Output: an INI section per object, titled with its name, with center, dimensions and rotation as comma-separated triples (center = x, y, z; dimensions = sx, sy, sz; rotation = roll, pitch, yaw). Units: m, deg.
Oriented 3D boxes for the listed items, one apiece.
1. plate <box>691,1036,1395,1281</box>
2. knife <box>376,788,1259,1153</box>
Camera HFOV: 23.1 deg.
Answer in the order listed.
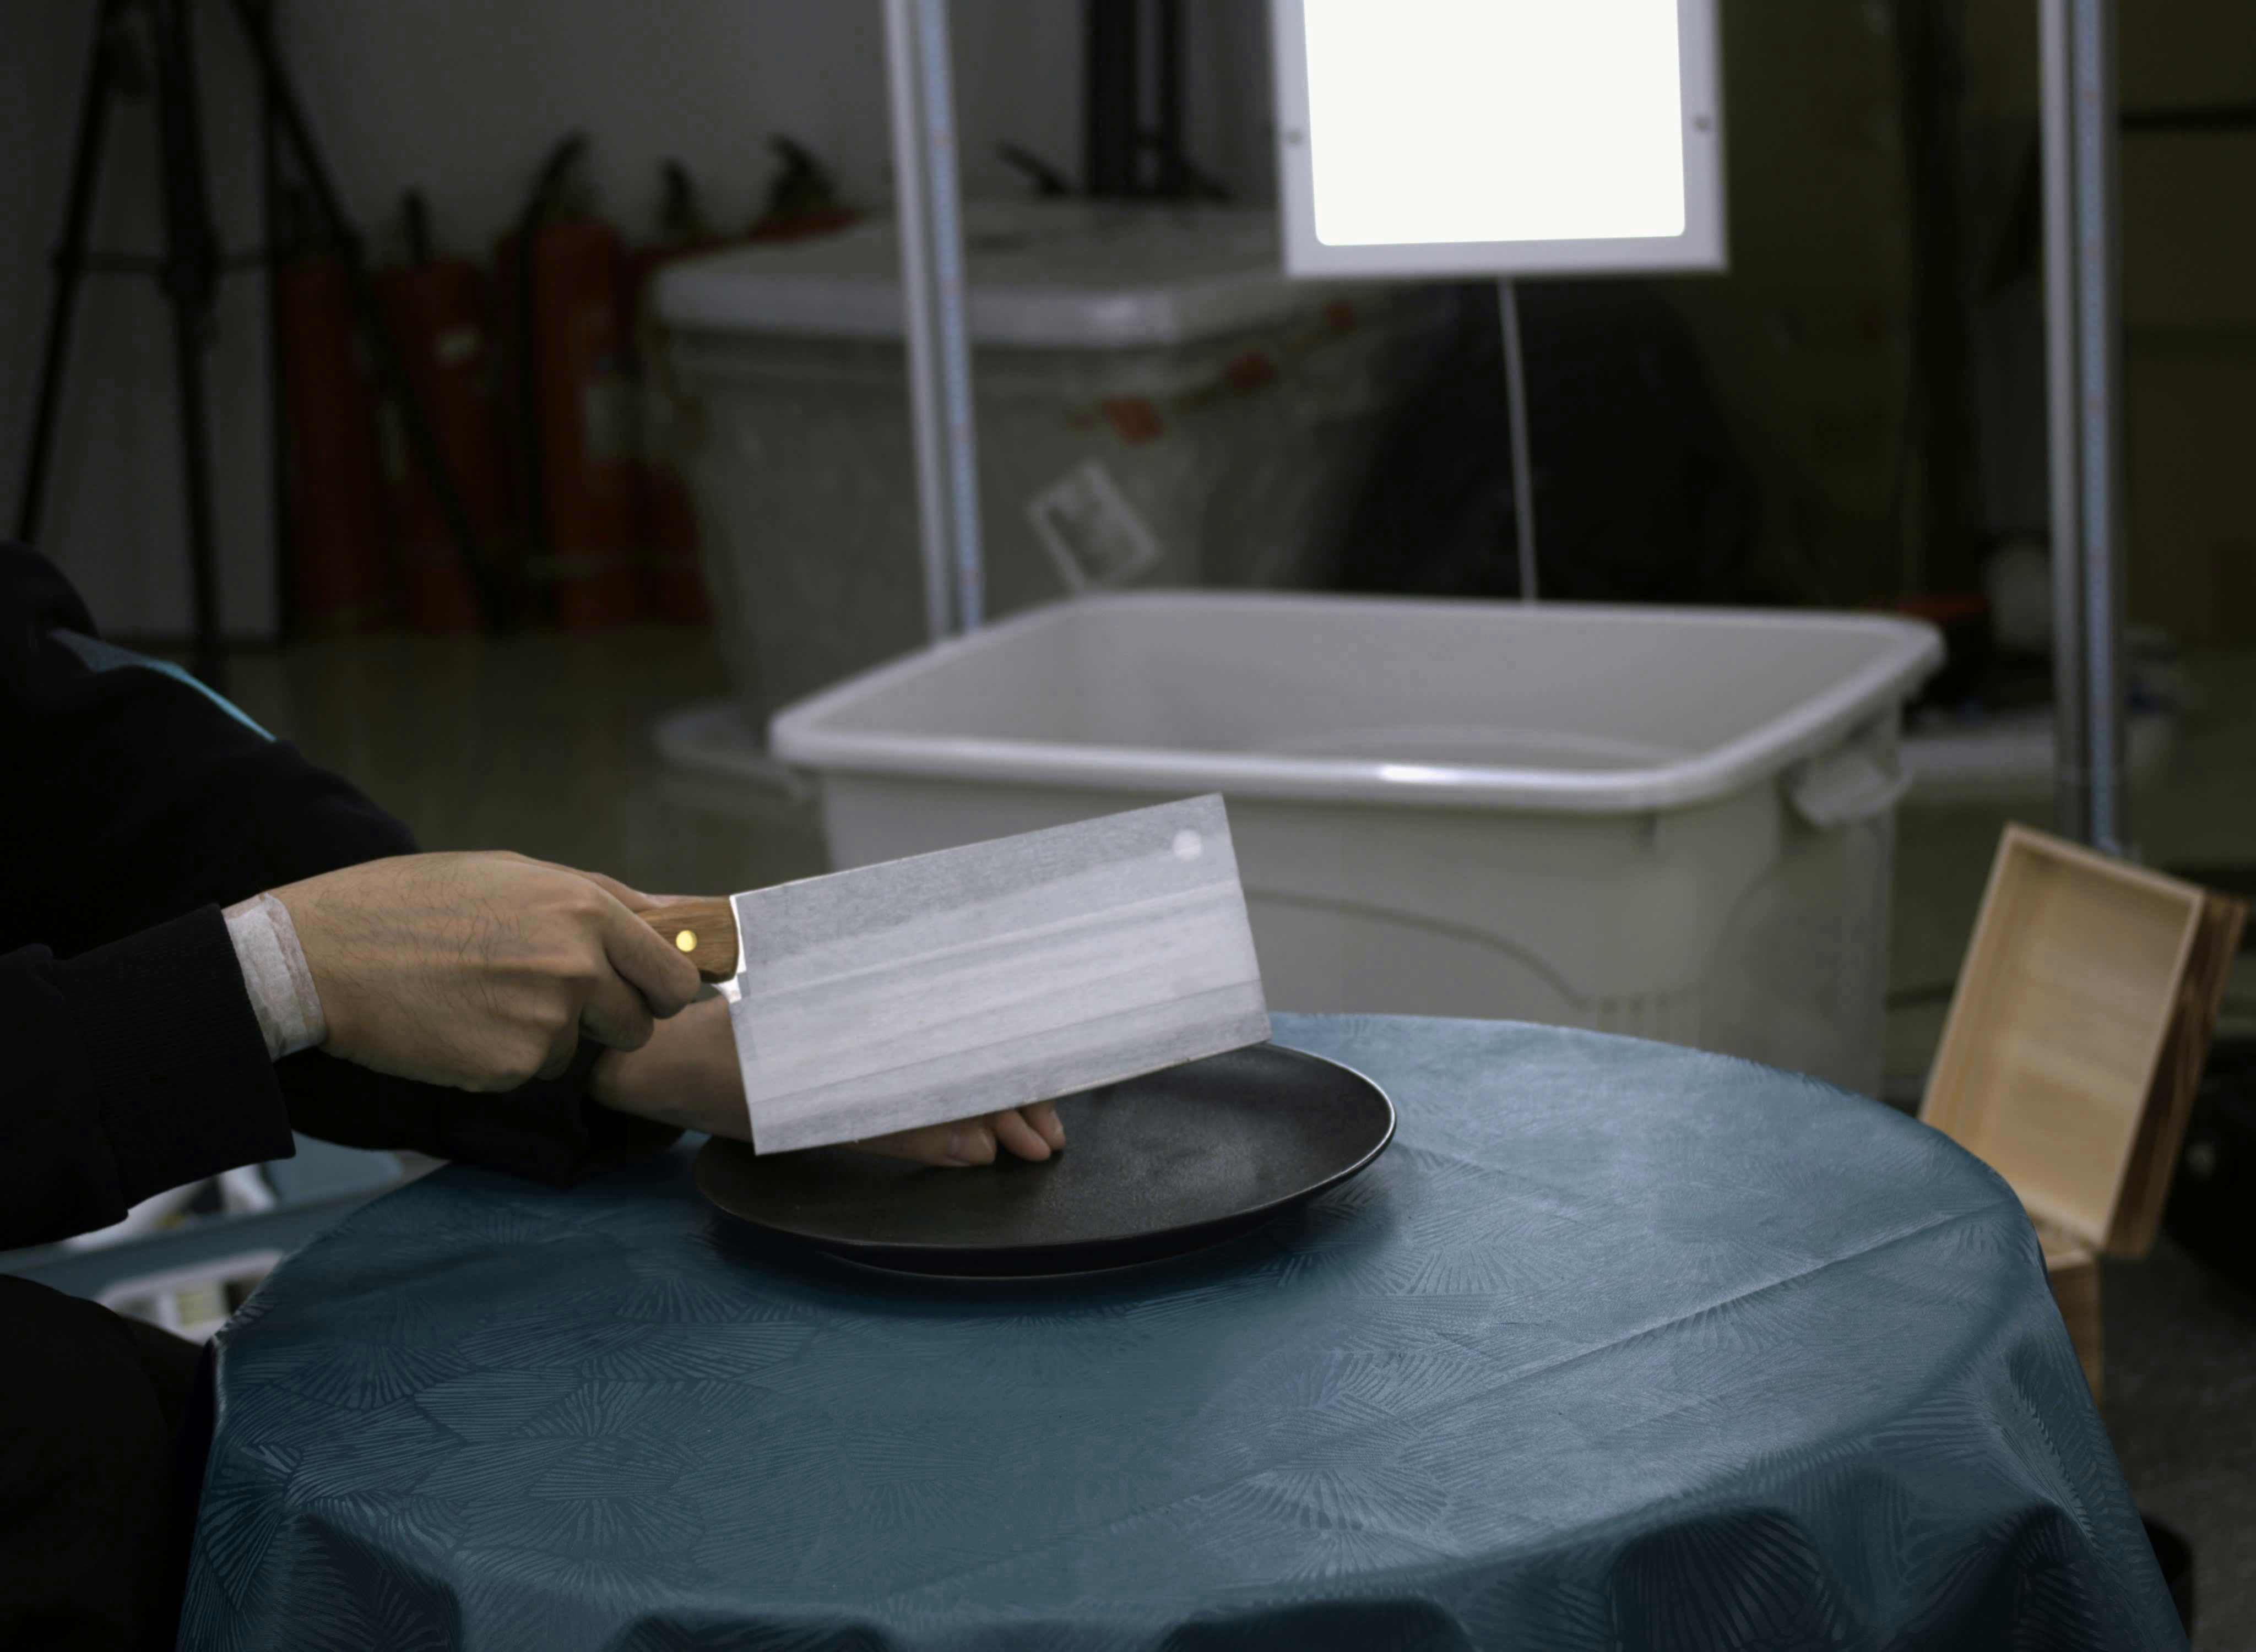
[plate]
center = -0.028, 0.117, 1.897
dimensions = 0.244, 0.023, 0.244
rotation = -5, 14, 0
[knife]
center = -0.101, 0.059, 1.879
dimensions = 0.301, 0.093, 0.021
rotation = -12, 1, -14
